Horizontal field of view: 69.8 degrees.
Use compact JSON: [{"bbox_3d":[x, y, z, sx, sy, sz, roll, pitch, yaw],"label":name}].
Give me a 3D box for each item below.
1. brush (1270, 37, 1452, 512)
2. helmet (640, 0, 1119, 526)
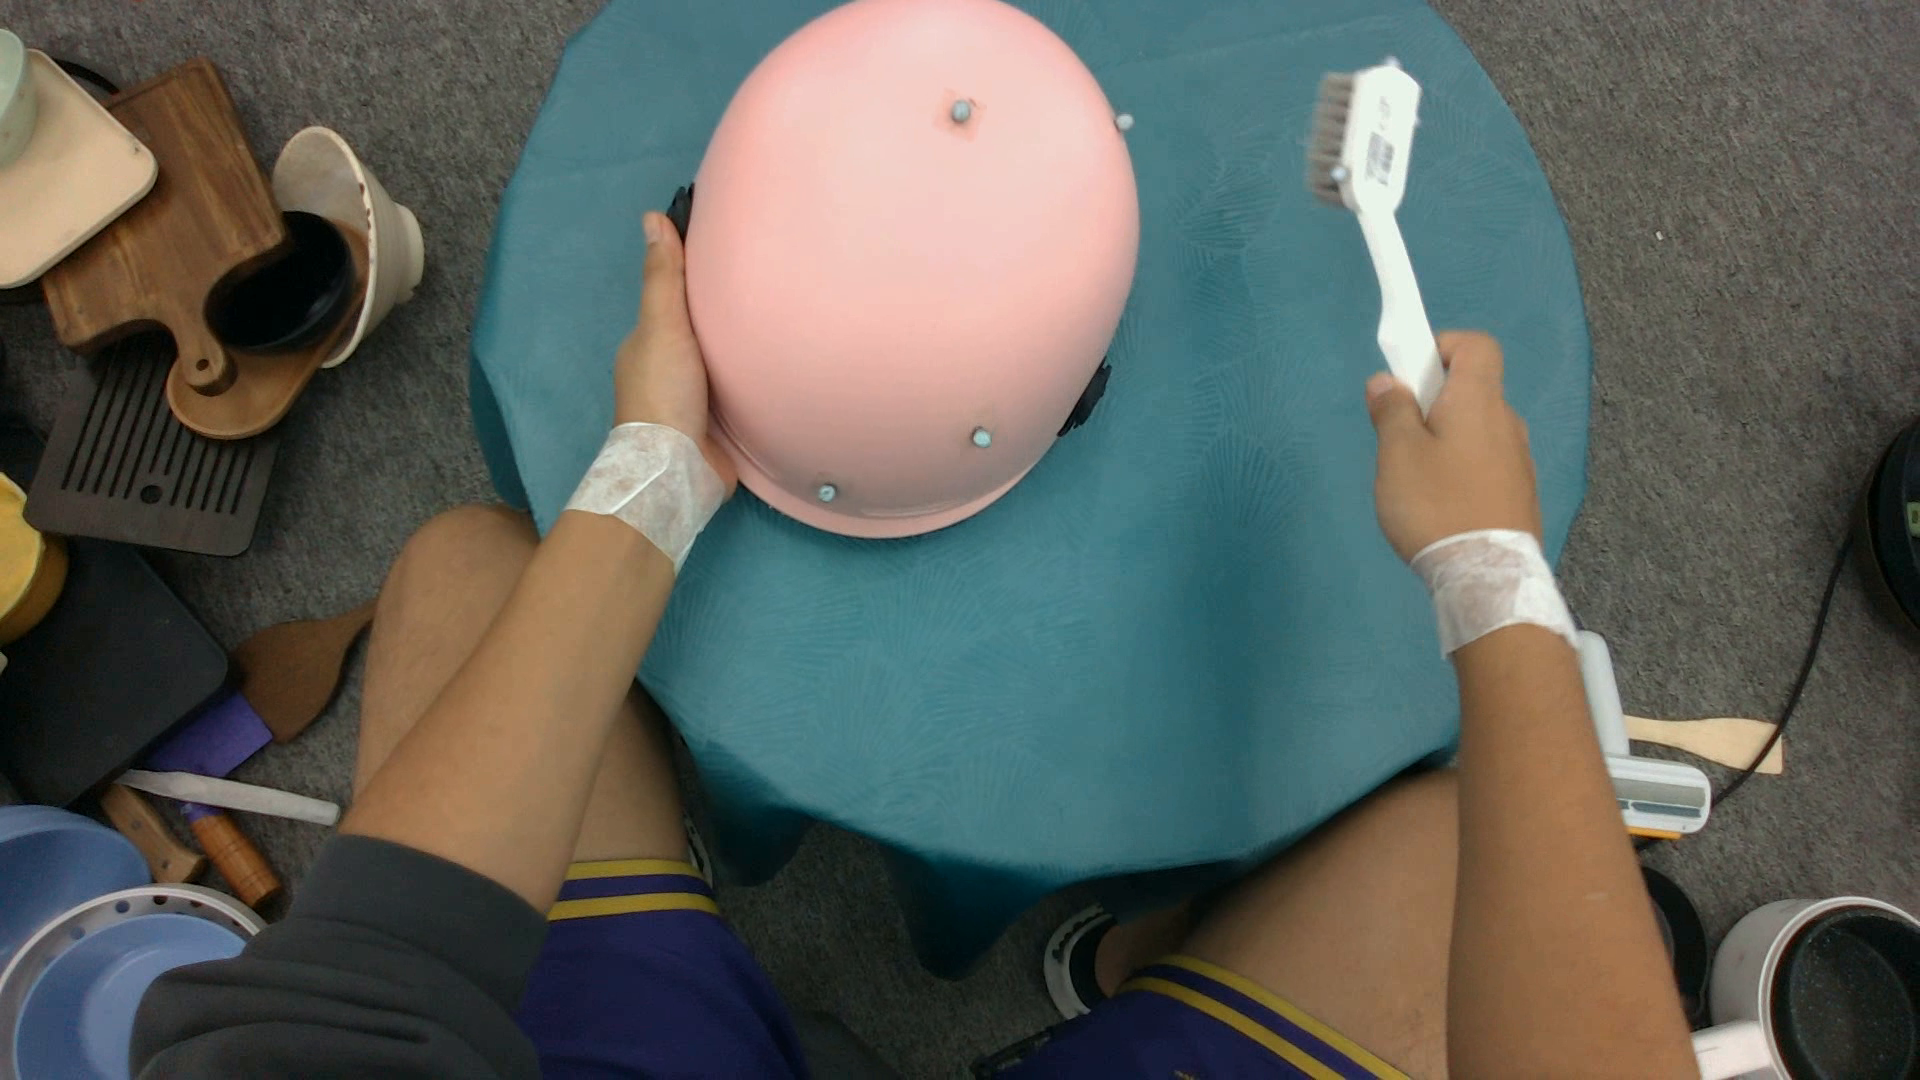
[{"bbox_3d":[0.185,-0.126,0.650,0.034,0.050,0.244,1,75,-32],"label":"brush"},{"bbox_3d":[-0.028,-0.144,0.648,0.234,0.158,0.266,20,79,-11],"label":"helmet"}]
